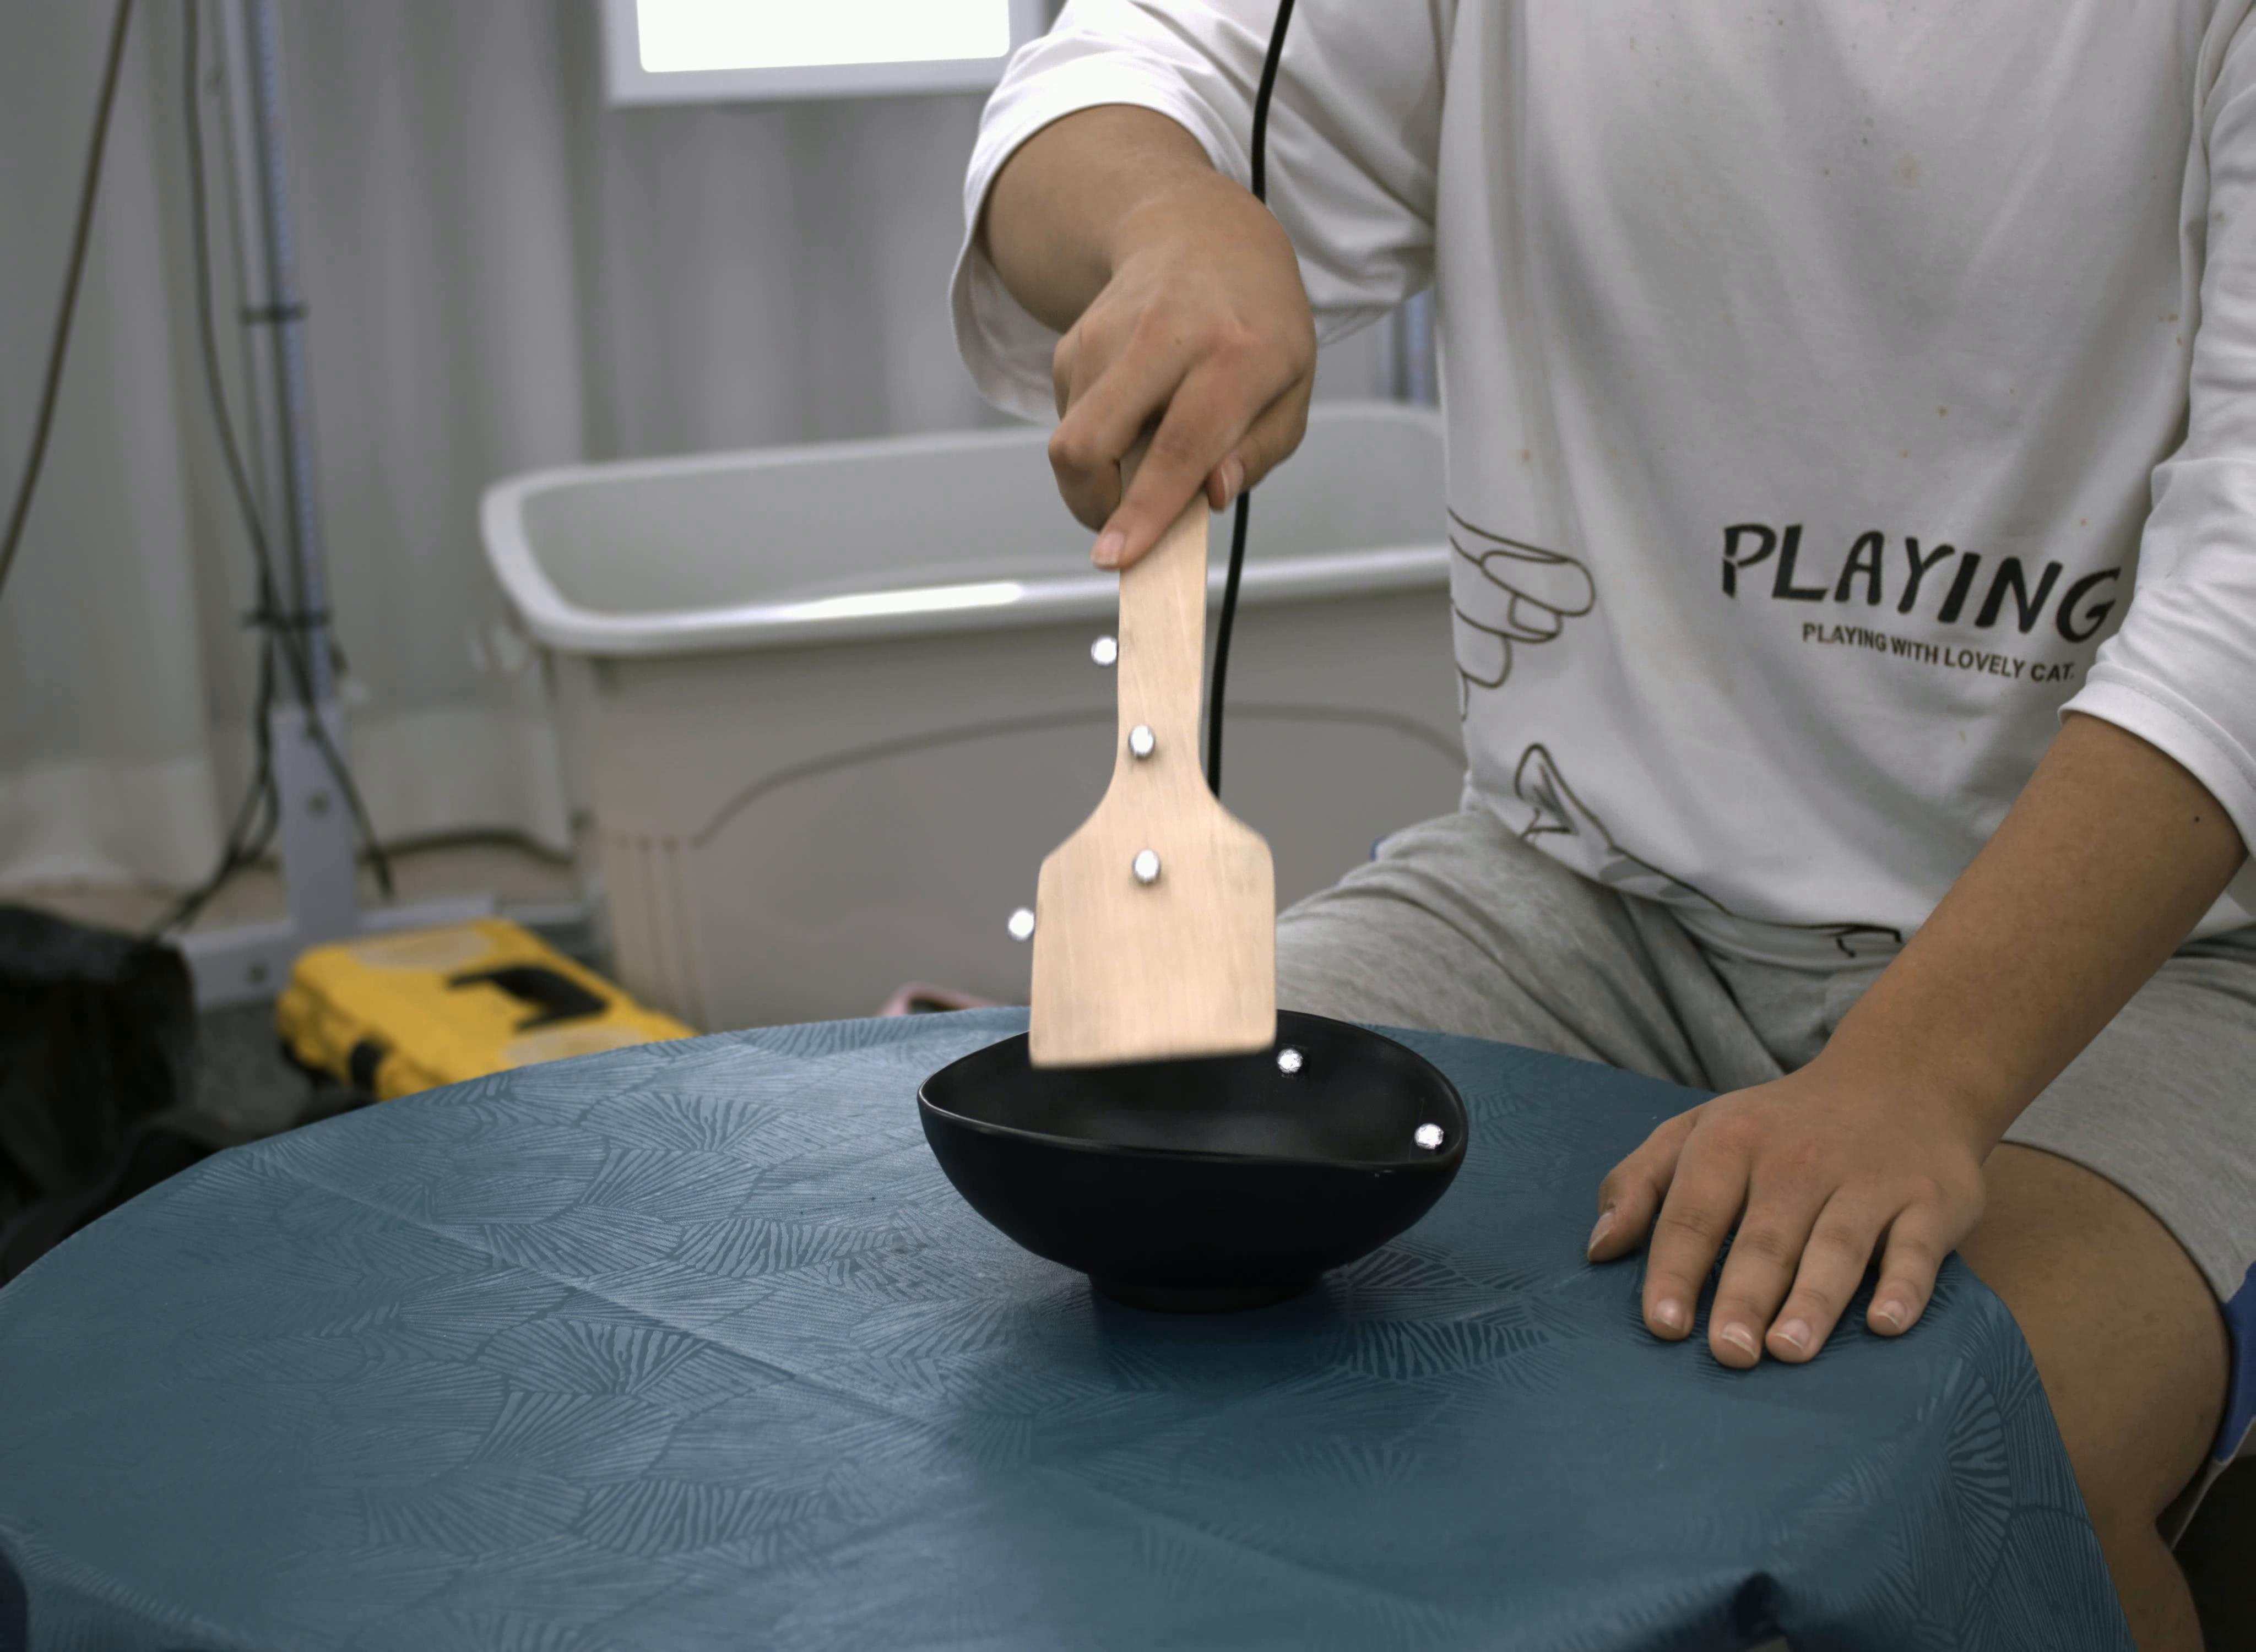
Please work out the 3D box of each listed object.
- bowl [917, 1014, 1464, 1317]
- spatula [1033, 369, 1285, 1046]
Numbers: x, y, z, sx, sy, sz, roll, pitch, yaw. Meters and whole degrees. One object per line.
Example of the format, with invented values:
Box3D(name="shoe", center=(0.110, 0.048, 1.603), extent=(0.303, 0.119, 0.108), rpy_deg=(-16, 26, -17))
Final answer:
Box3D(name="bowl", center=(0.020, 0.105, 1.632), extent=(0.170, 0.066, 0.138), rpy_deg=(5, 17, 22))
Box3D(name="spatula", center=(0.010, -0.041, 1.633), extent=(0.072, 0.010, 0.297), rpy_deg=(-6, 43, 6))
